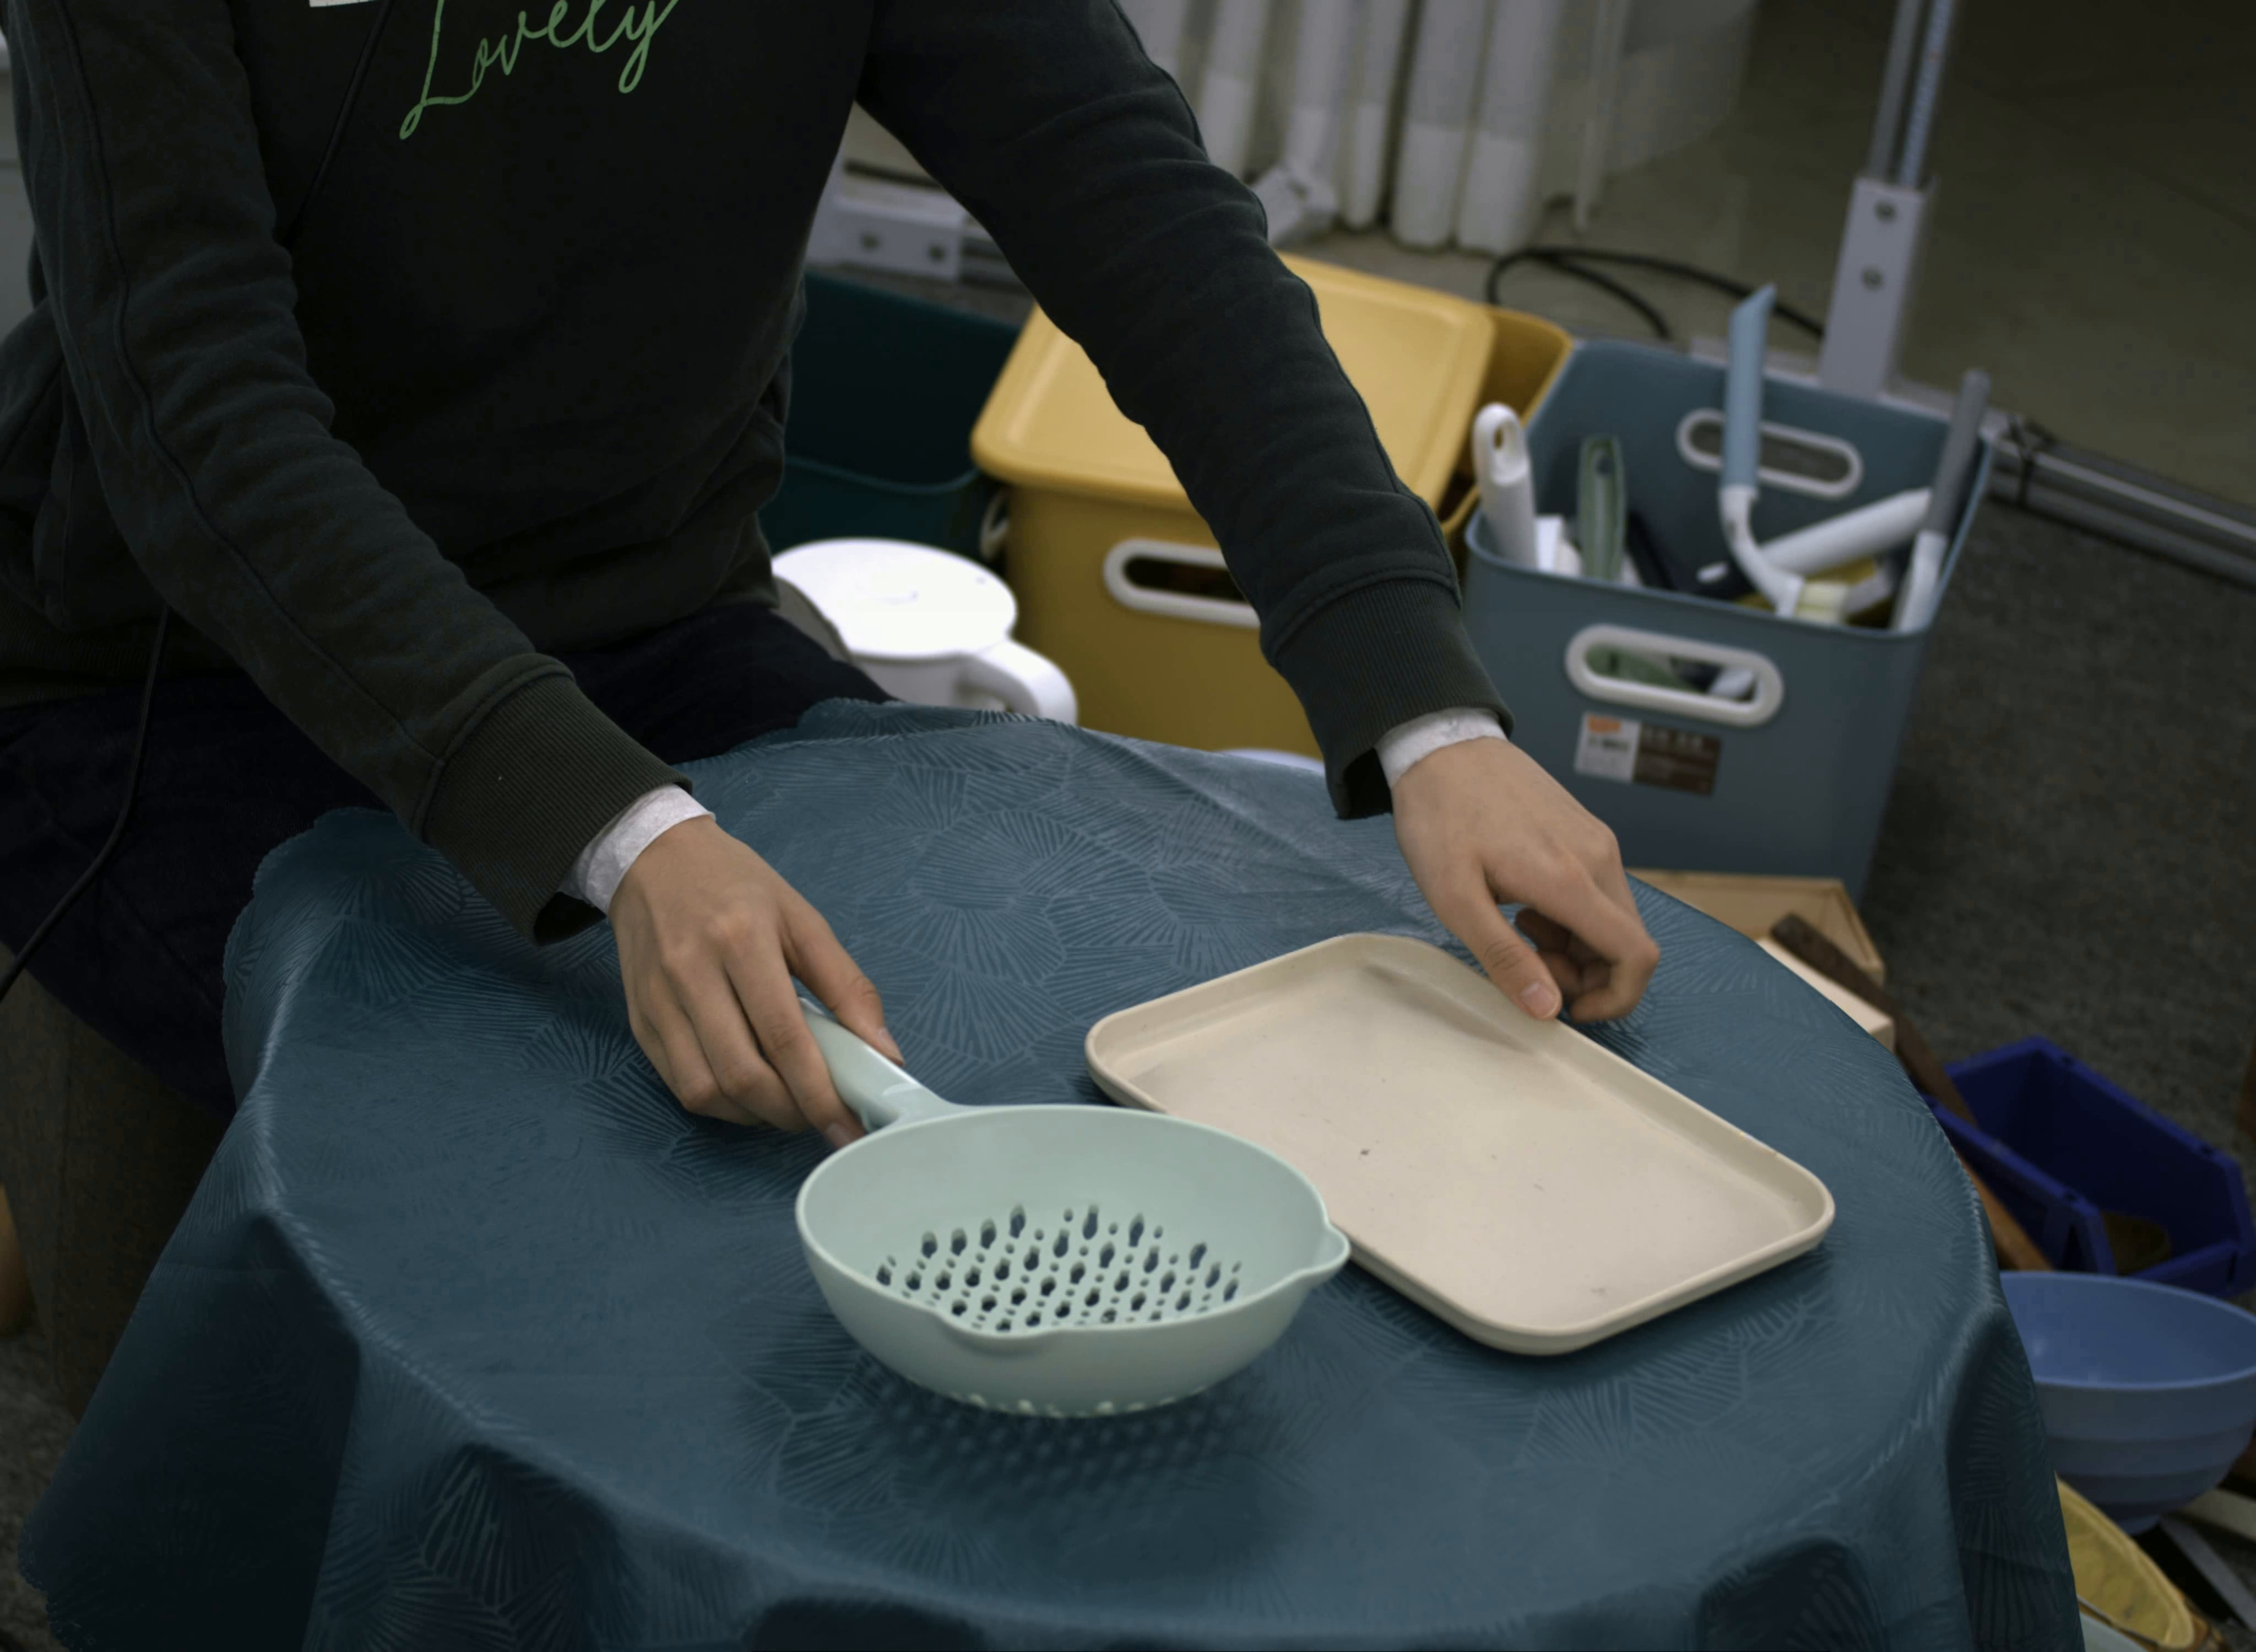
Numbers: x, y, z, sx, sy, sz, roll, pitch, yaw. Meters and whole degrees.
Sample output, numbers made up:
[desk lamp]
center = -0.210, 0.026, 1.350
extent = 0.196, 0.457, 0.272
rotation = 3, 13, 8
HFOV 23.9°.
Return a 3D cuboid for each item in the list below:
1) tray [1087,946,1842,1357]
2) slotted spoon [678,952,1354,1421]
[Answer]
[tray]
center = 0.113, 0.110, 1.834
extent = 0.170, 0.017, 0.241
rotation = -17, 34, -39
[slotted spoon]
center = -0.068, 0.103, 1.756
extent = 0.168, 0.075, 0.362
rotation = -9, 30, -28
